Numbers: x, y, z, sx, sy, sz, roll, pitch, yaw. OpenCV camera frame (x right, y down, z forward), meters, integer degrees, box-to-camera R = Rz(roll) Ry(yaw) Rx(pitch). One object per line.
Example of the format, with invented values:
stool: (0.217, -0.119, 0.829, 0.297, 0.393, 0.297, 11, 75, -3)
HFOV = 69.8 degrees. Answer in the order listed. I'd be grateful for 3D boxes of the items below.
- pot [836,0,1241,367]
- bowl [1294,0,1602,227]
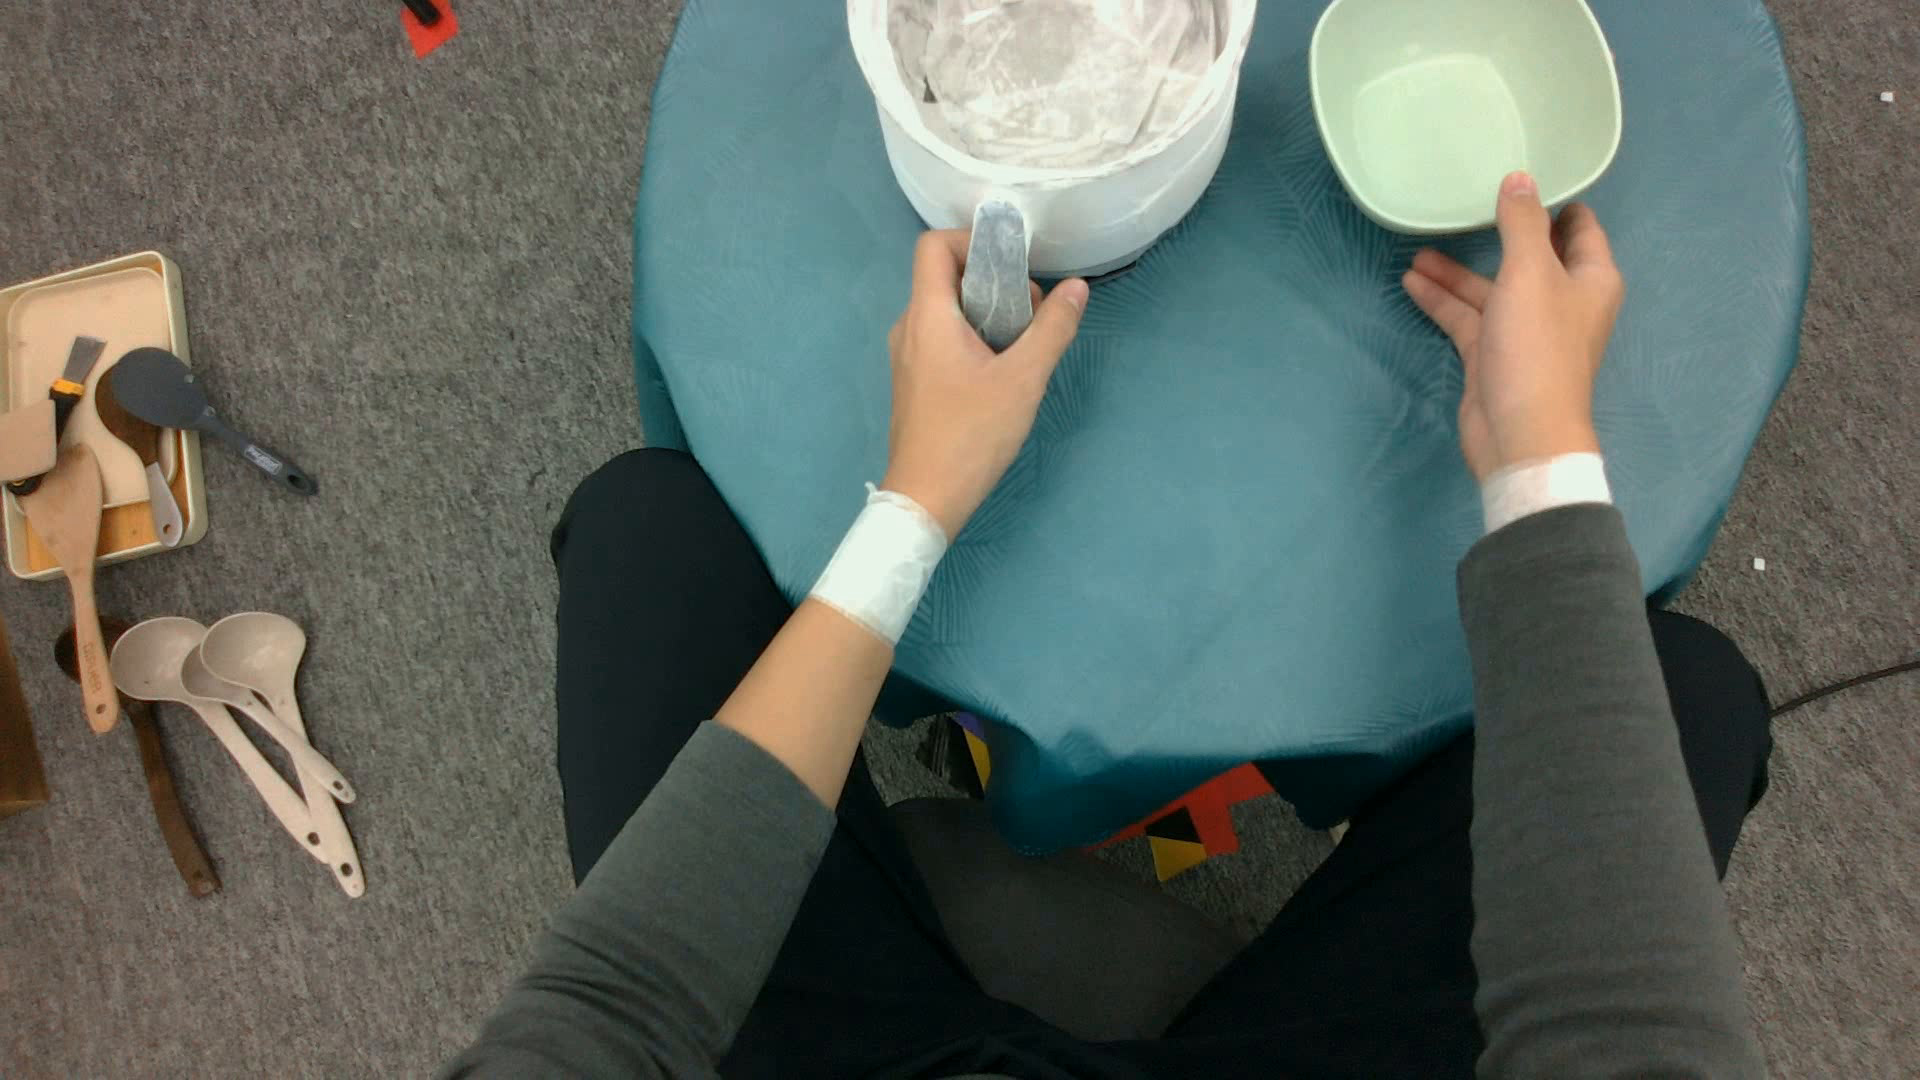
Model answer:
pot: (0.033, -0.204, 0.656, 0.178, 0.136, 0.234, 11, 81, 7)
bowl: (0.234, -0.213, 0.682, 0.151, 0.058, 0.151, -1, 78, 4)
